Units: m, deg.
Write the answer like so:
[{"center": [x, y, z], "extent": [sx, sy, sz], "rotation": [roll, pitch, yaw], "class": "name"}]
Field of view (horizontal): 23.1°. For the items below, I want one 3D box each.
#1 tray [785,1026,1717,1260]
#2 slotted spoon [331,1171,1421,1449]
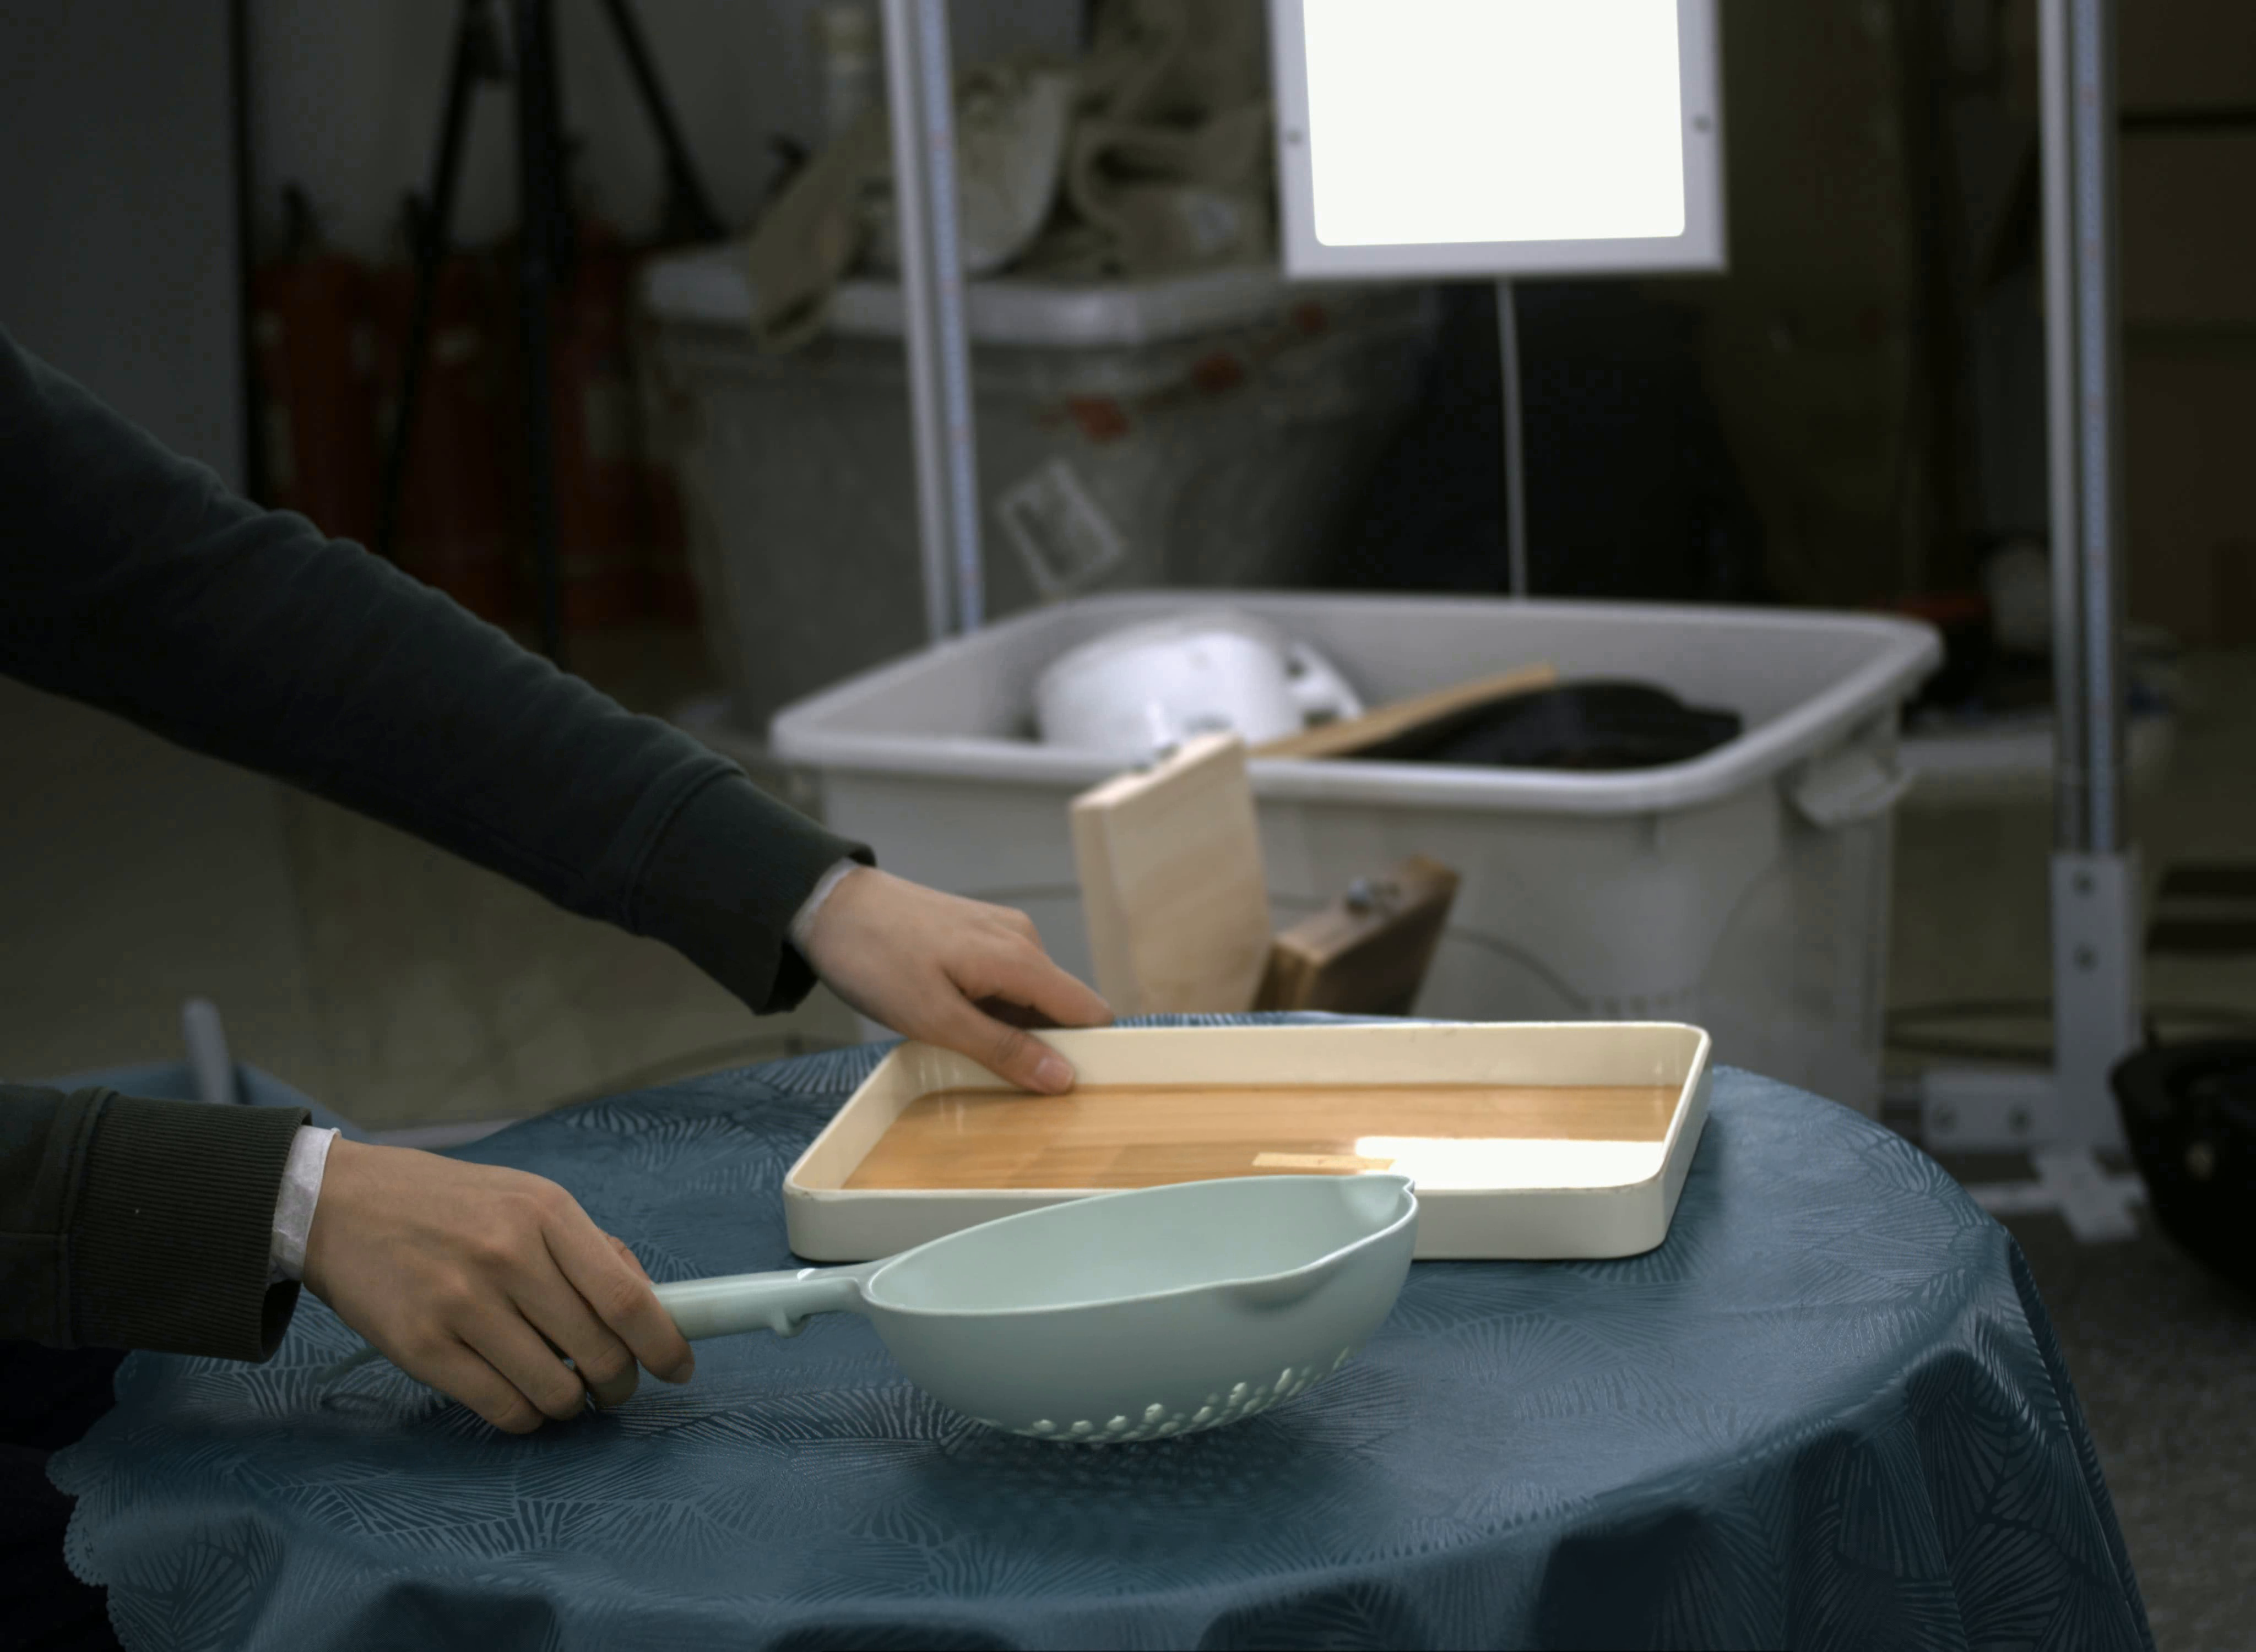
[{"center": [0.046, 0.109, 1.899], "extent": [0.303, 0.027, 0.189], "rotation": [-1, 14, 15], "class": "tray"}, {"center": [-0.085, 0.149, 1.695], "extent": [0.363, 0.075, 0.166], "rotation": [1, 10, 20], "class": "slotted spoon"}]
